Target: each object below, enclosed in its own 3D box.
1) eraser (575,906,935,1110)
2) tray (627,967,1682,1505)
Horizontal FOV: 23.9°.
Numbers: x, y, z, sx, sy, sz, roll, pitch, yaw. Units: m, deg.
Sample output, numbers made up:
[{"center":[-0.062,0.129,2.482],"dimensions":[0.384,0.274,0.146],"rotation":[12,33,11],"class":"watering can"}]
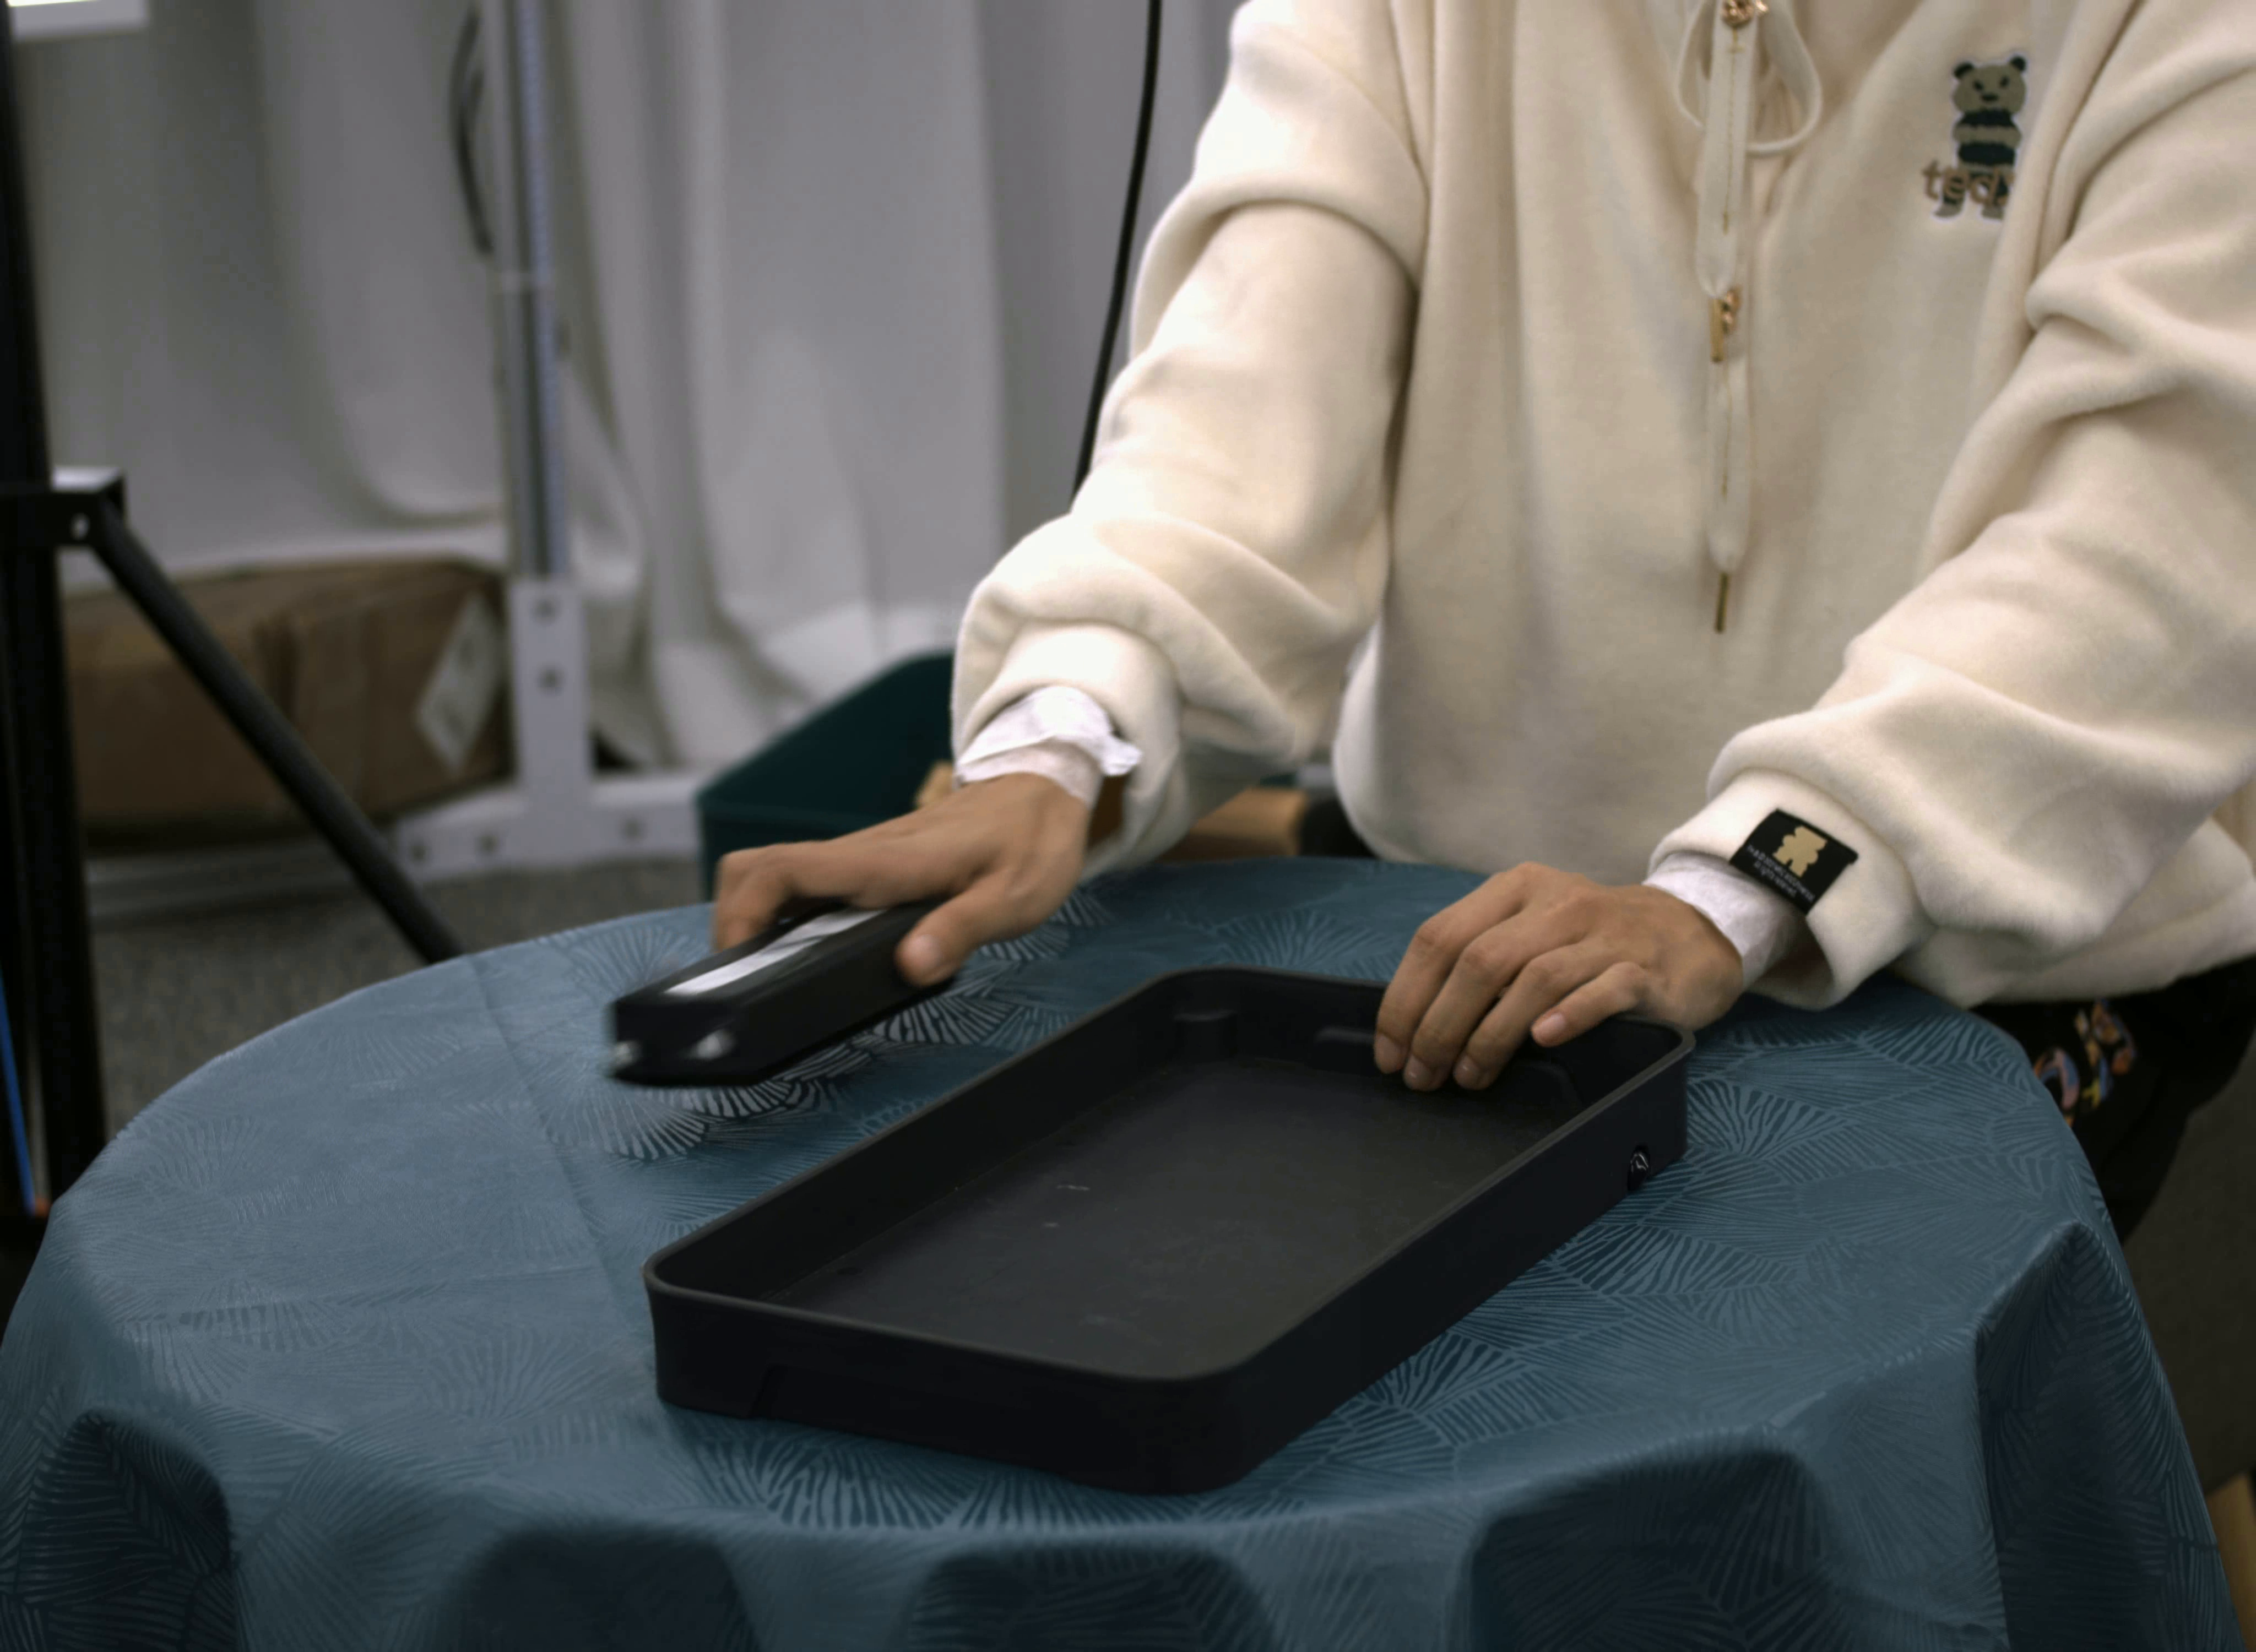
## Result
[{"center":[-0.114,0.056,1.662],"dimensions":[0.054,0.030,0.123],"rotation":[4,16,33],"class":"eraser"},{"center":[0.016,0.107,1.489],"dimensions":[0.187,0.037,0.312],"rotation":[7,18,29],"class":"tray"}]
